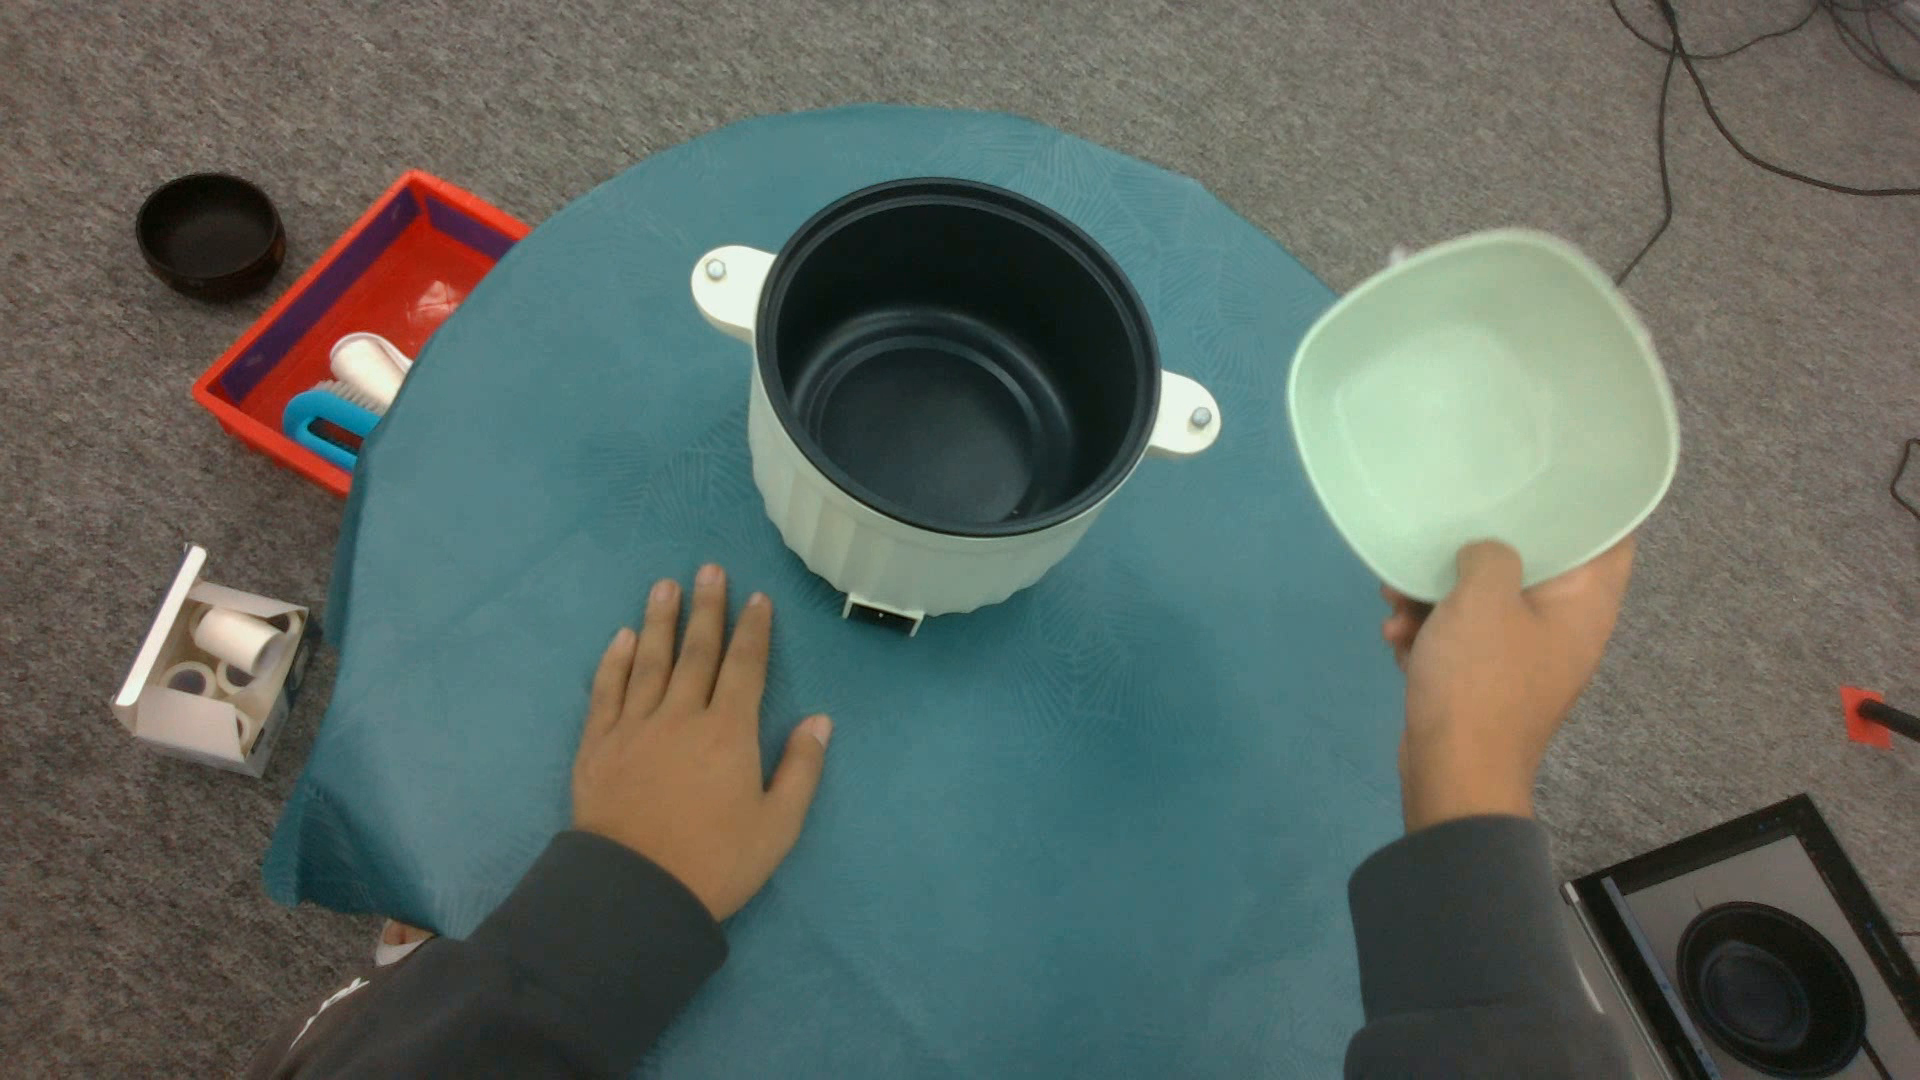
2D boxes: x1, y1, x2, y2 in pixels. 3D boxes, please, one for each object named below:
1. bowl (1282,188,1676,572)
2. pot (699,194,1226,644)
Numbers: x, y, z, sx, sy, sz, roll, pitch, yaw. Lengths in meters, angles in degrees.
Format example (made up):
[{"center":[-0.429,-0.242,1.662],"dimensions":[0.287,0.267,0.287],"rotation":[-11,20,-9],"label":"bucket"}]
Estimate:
[{"center":[0.204,-0.064,0.562],"dimensions":[0.151,0.059,0.151],"rotation":[1,95,6],"label":"bowl"},{"center":[-0.007,-0.059,0.672],"dimensions":[0.240,0.142,0.191],"rotation":[12,67,-7],"label":"pot"}]
